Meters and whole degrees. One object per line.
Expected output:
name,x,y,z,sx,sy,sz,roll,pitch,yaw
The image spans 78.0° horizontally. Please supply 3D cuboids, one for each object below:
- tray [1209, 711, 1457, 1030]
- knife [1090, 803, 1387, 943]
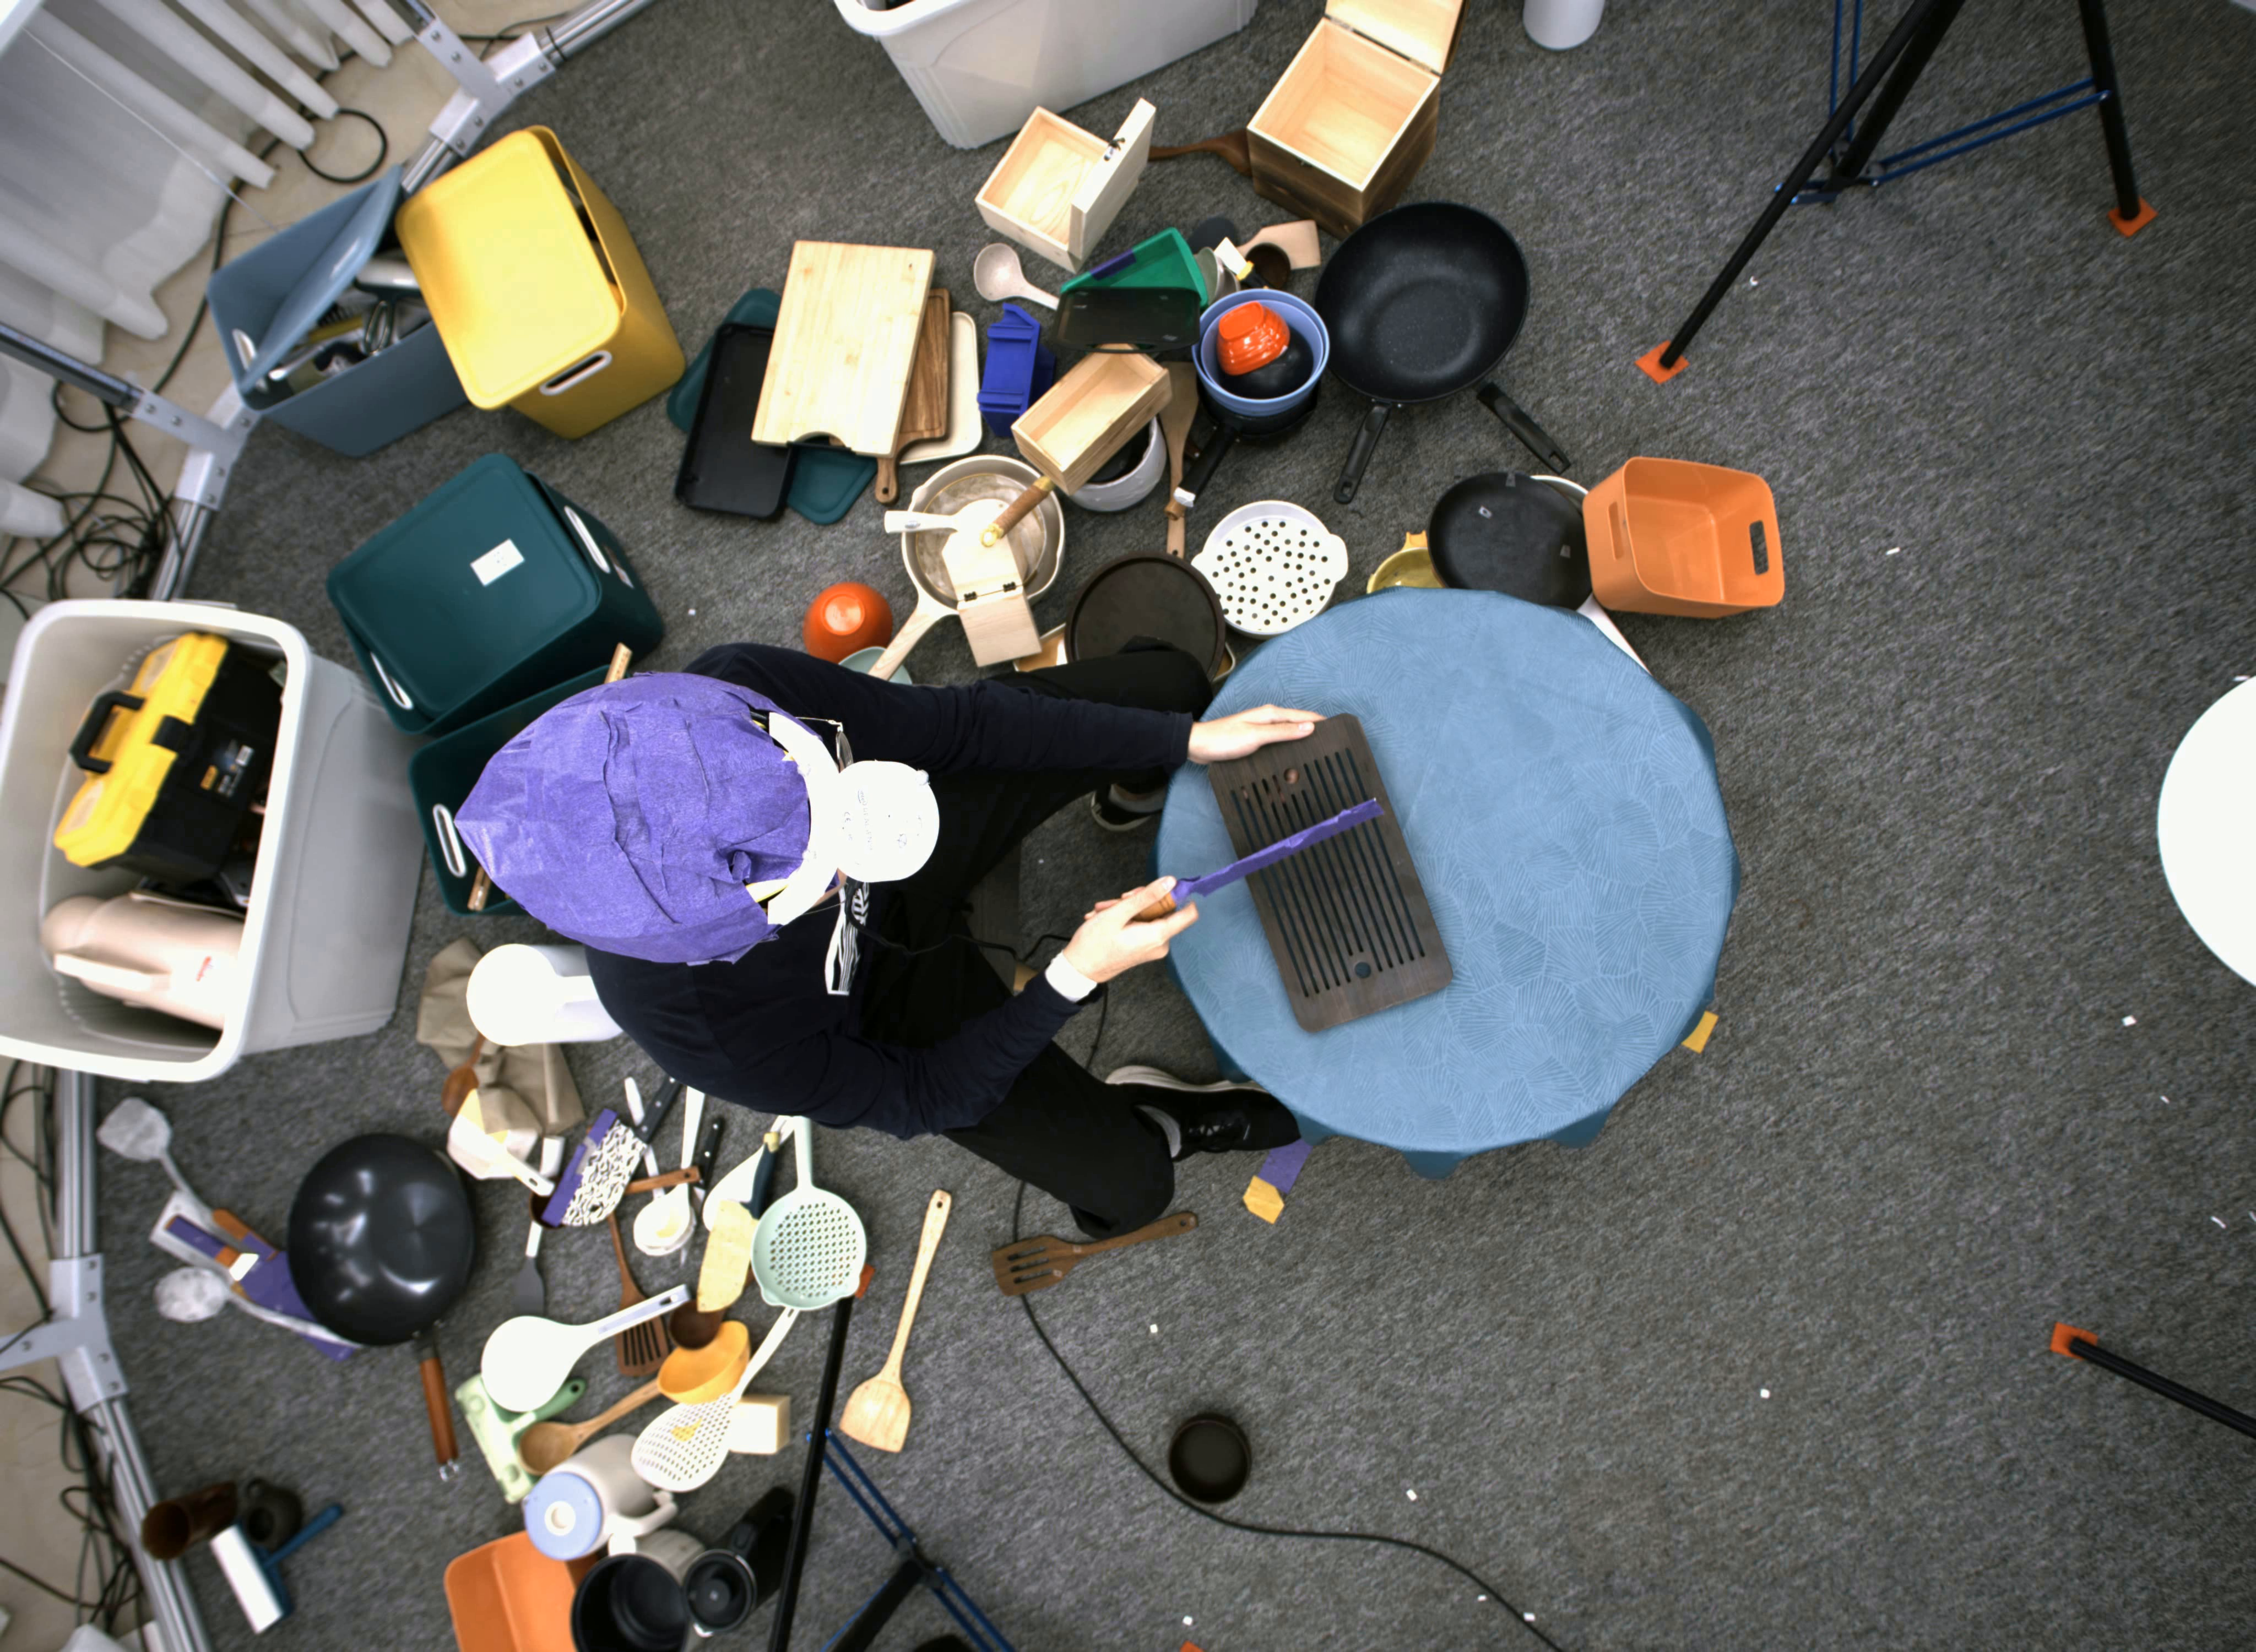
tray,0.214,0.046,1.449,0.171,0.018,0.305,-20,89,9
knife,0.116,0.048,1.403,0.318,0.104,0.032,-23,77,13
